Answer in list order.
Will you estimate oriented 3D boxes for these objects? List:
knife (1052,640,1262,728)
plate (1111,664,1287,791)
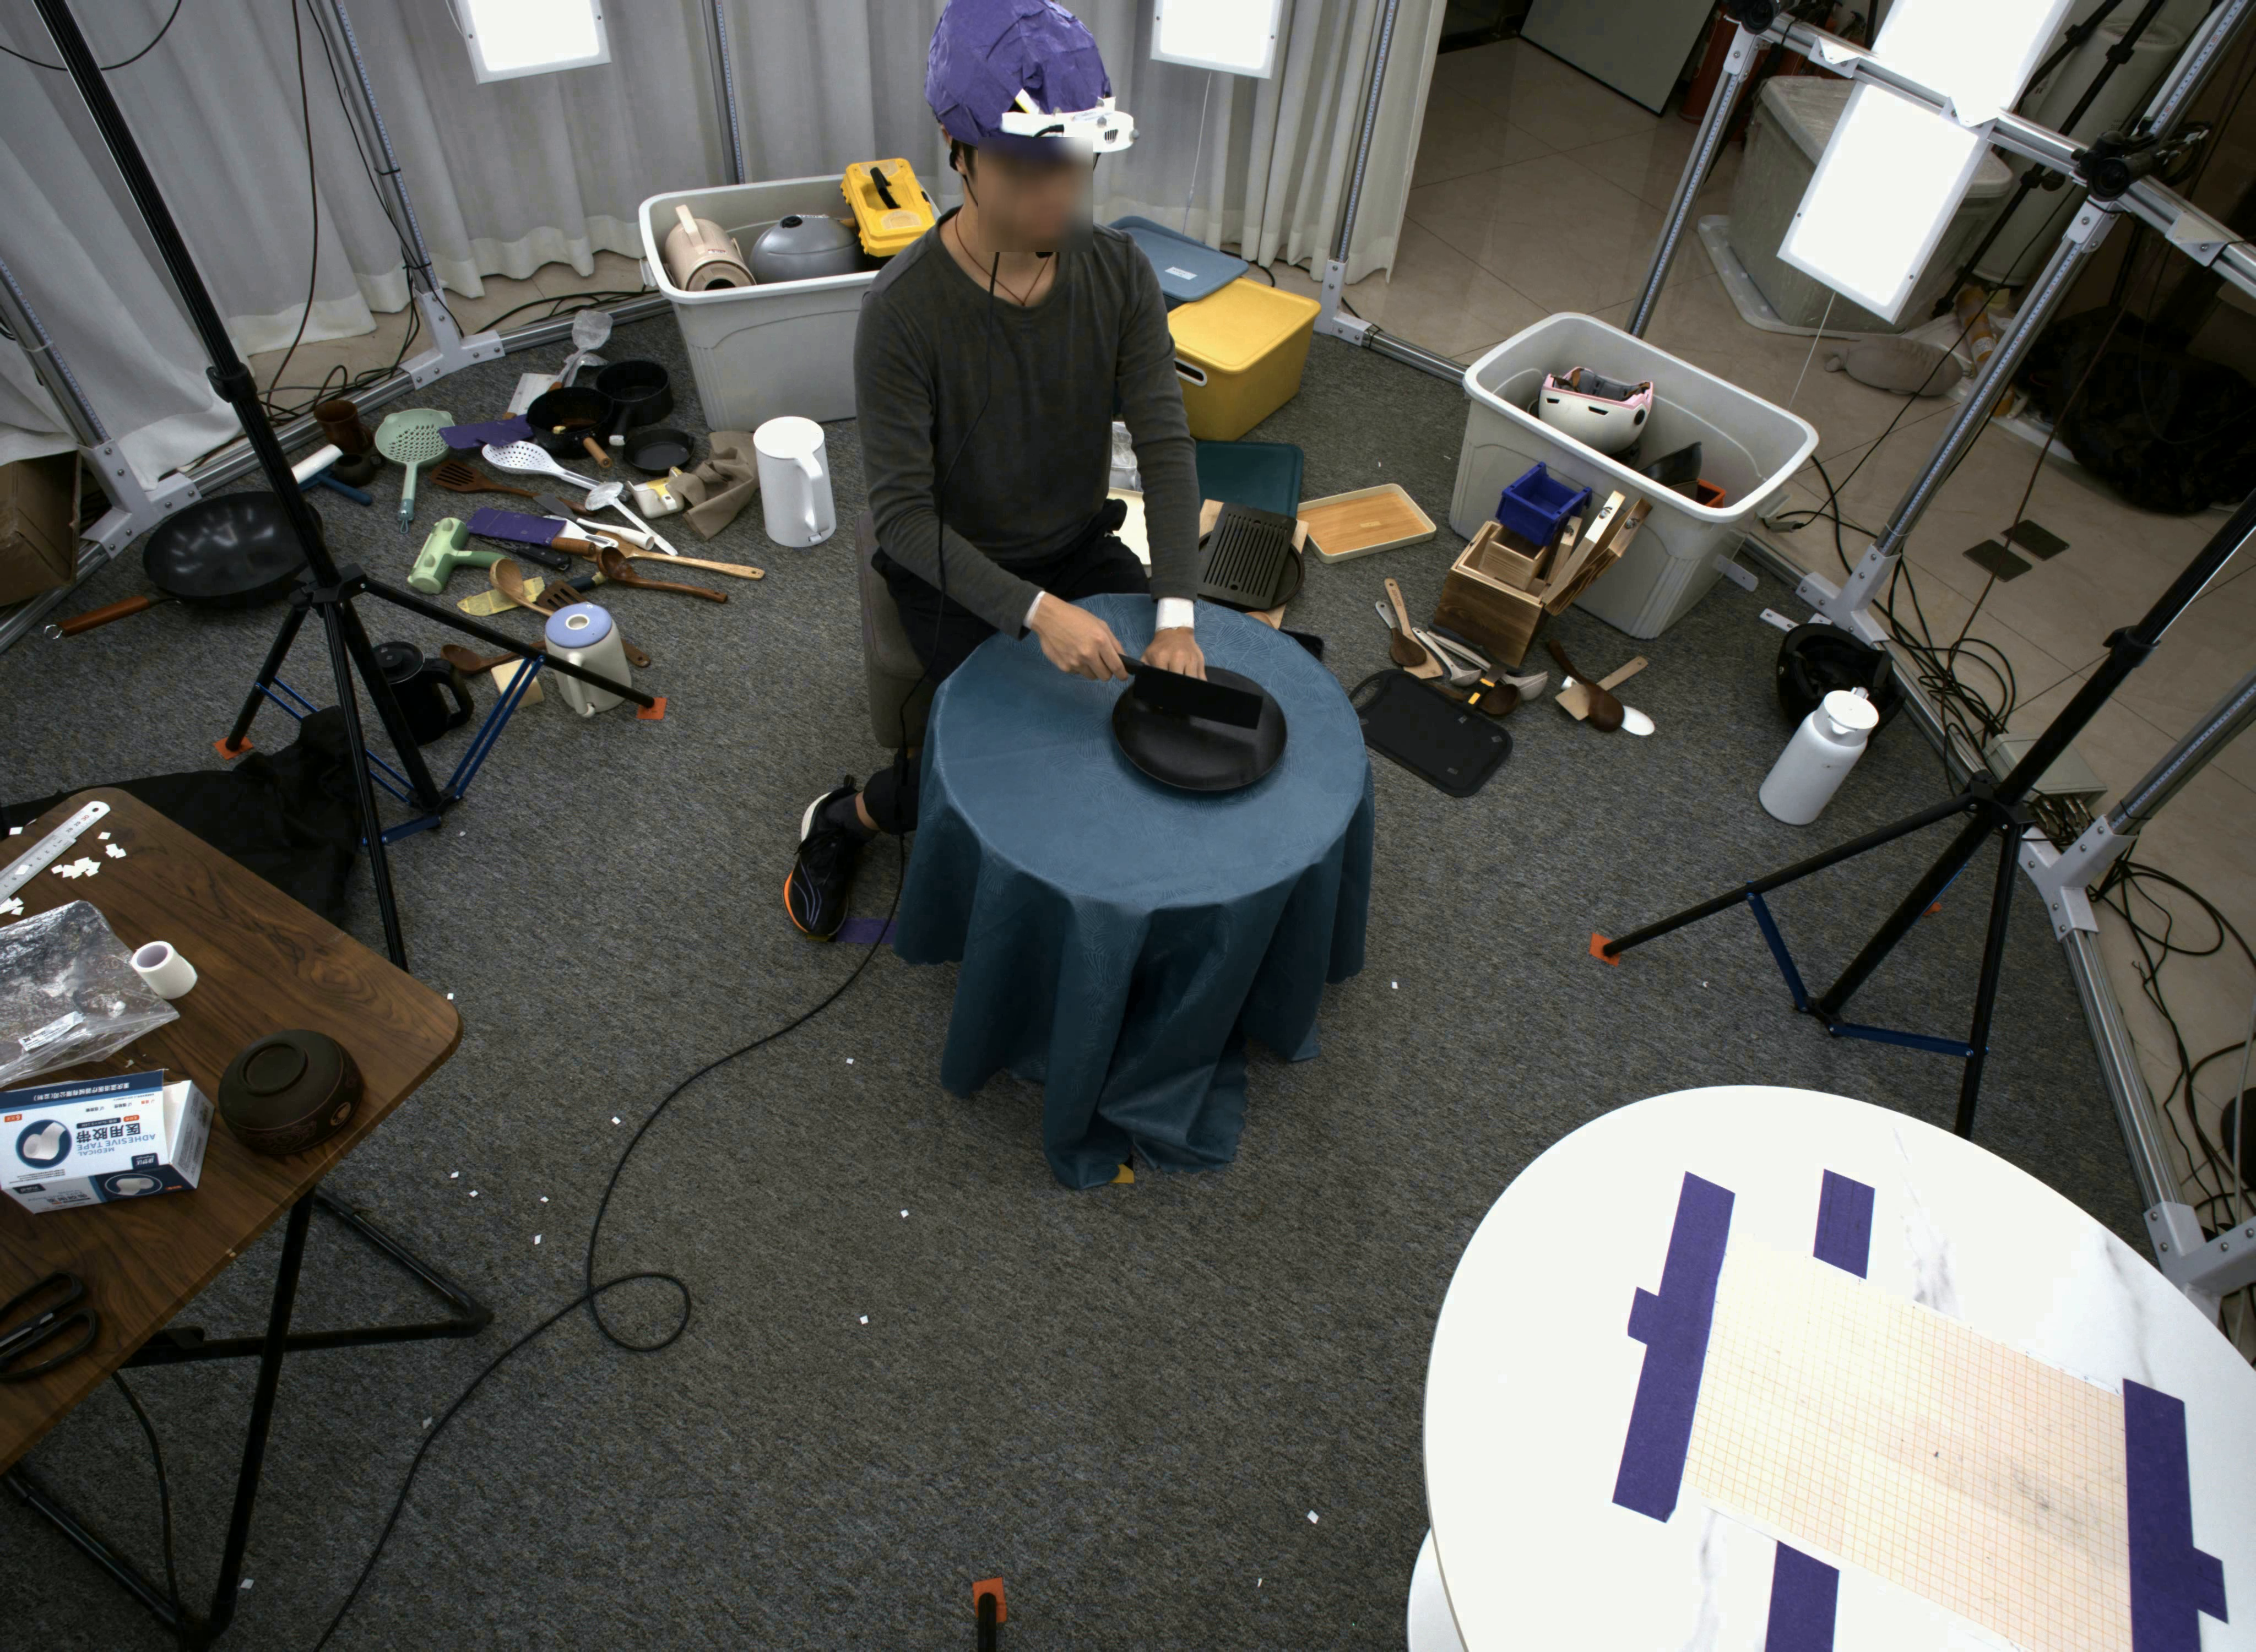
[{"bbox_3d":[0.038,-0.198,1.766,0.303,0.079,0.021,19,45,8],"label":"knife"},{"bbox_3d":[0.098,-0.134,1.775,0.244,0.023,0.250,2,49,-2],"label":"plate"}]
